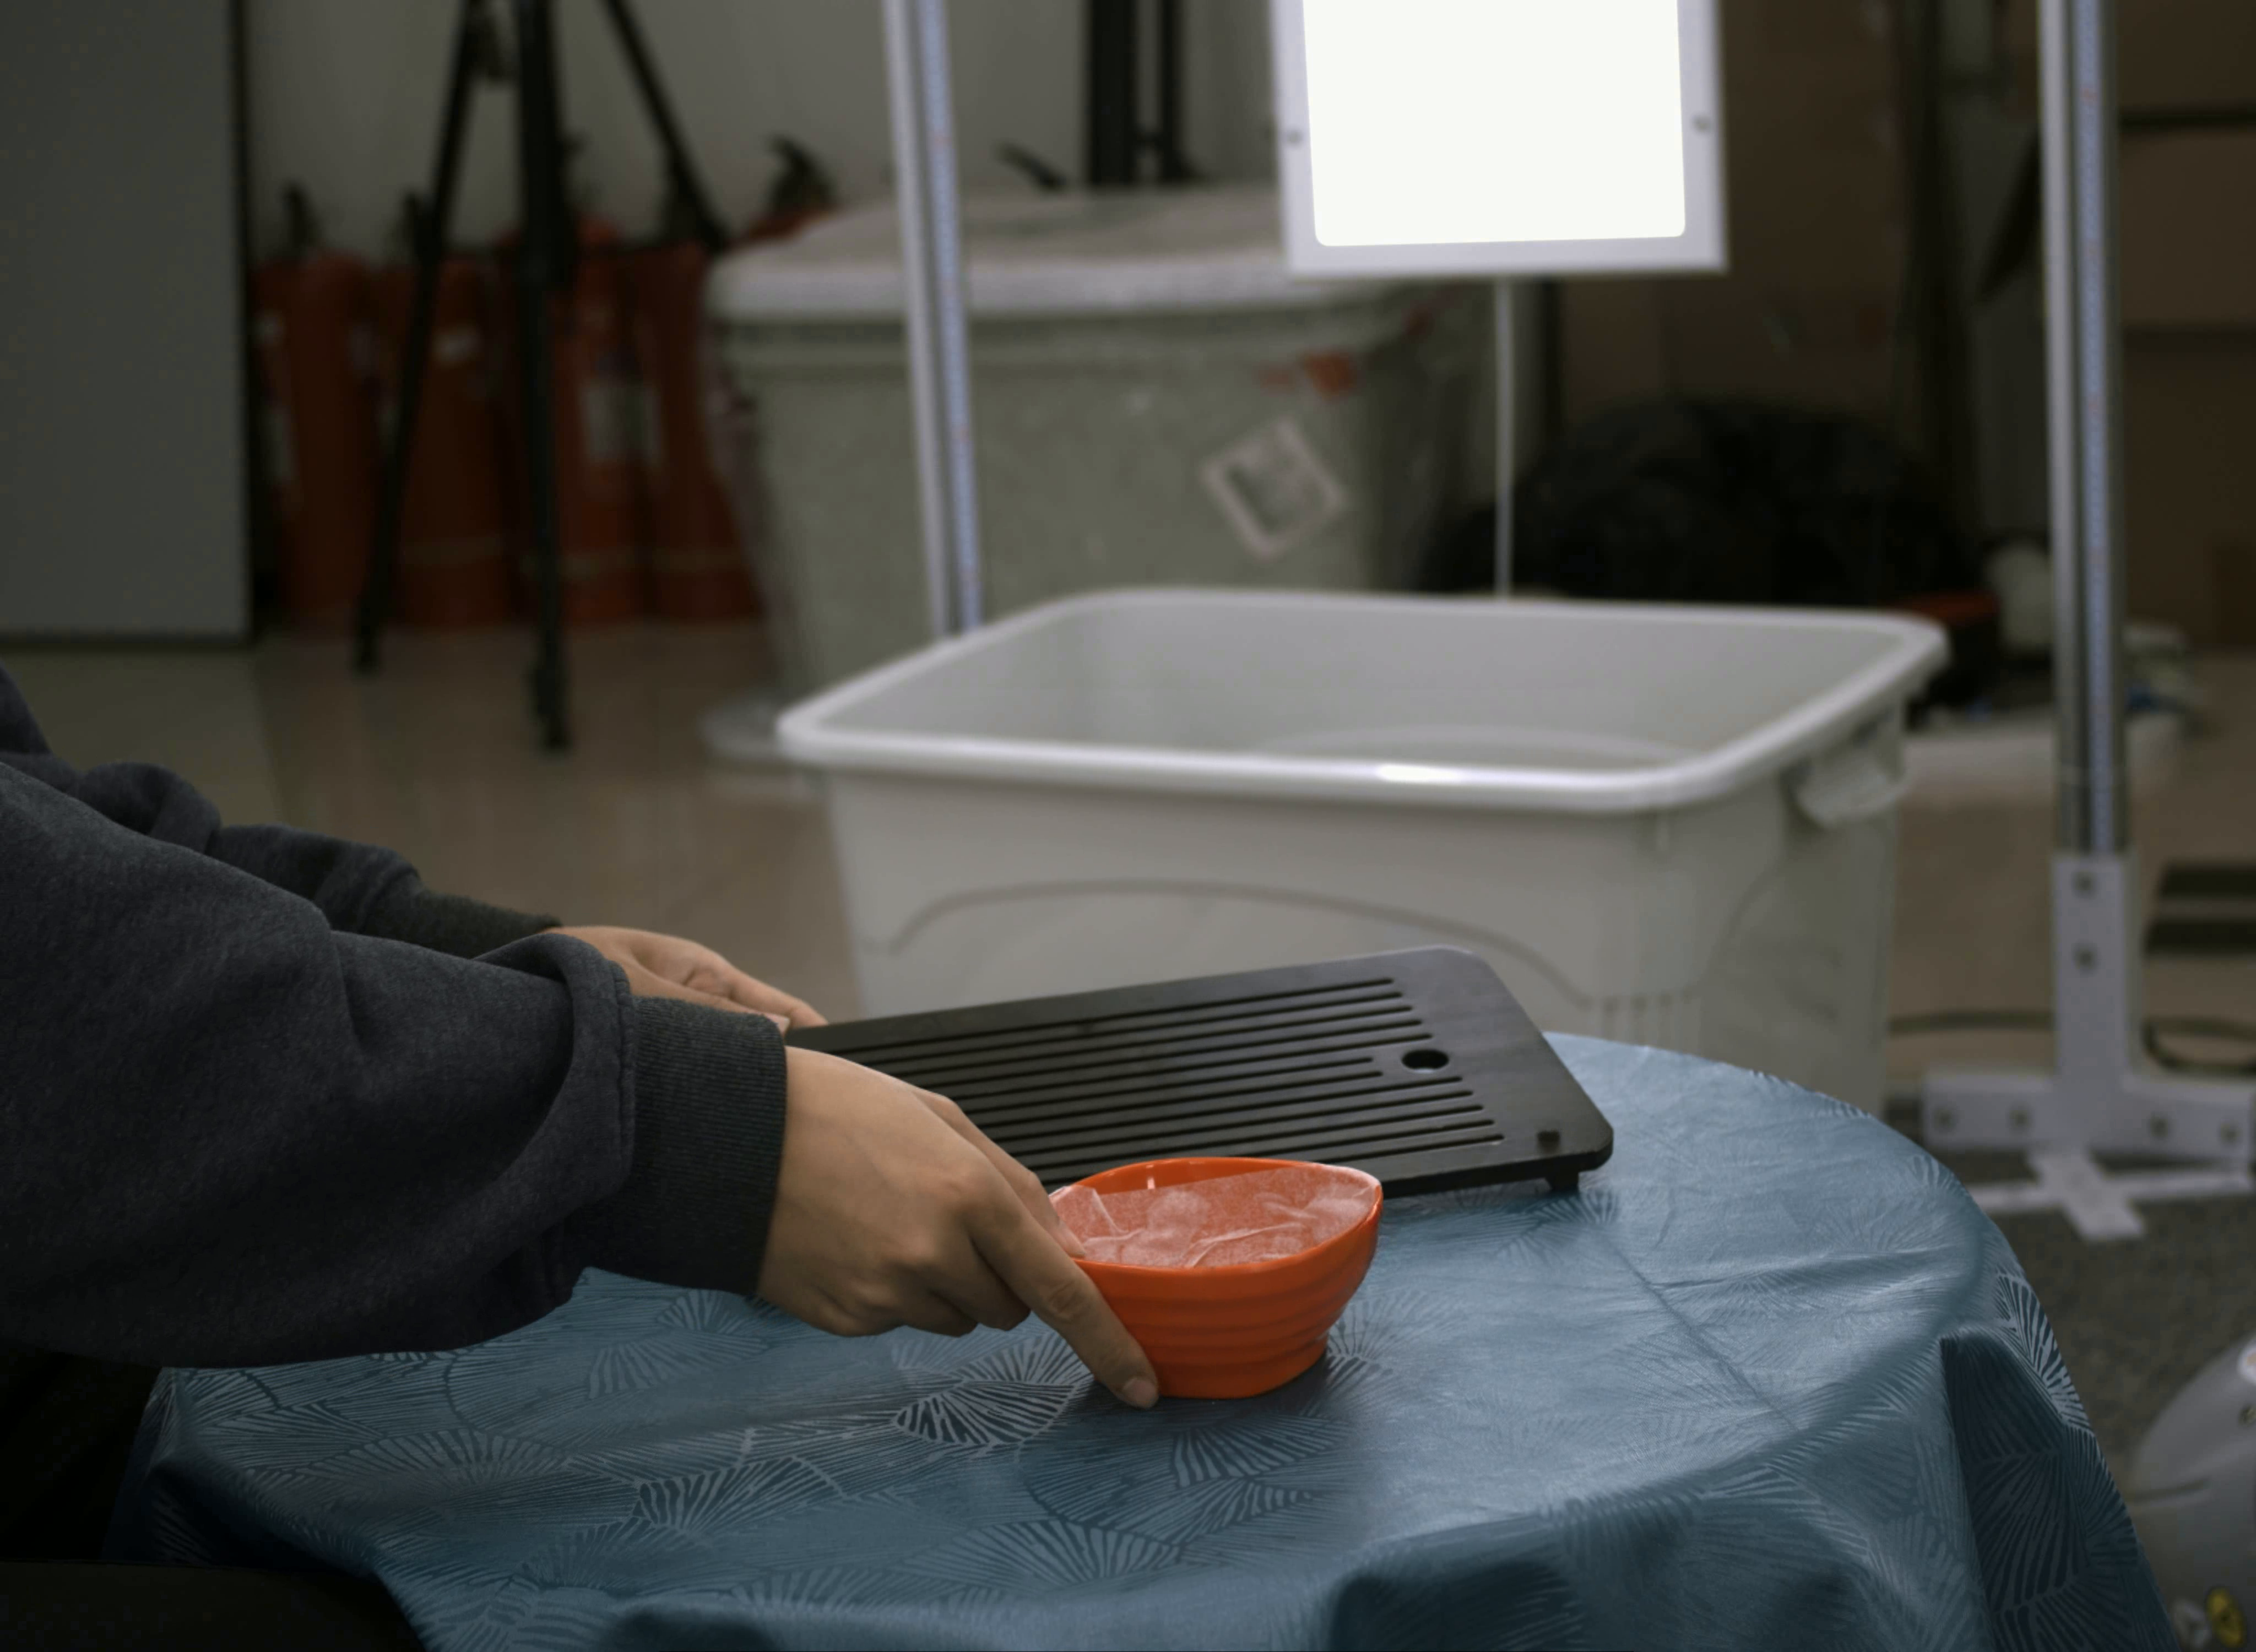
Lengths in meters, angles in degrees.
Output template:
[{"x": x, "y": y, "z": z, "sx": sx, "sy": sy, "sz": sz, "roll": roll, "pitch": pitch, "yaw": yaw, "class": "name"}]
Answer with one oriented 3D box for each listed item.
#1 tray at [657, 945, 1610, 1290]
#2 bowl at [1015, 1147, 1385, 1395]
[{"x": -0.001, "y": 0.100, "z": 1.902, "sx": 0.302, "sy": 0.019, "sz": 0.171, "roll": -8, "pitch": 25, "yaw": -11, "class": "tray"}, {"x": 0.024, "y": 0.141, "z": 1.714, "sx": 0.118, "sy": 0.051, "sz": 0.119, "roll": -4, "pitch": 15, "yaw": 0, "class": "bowl"}]
